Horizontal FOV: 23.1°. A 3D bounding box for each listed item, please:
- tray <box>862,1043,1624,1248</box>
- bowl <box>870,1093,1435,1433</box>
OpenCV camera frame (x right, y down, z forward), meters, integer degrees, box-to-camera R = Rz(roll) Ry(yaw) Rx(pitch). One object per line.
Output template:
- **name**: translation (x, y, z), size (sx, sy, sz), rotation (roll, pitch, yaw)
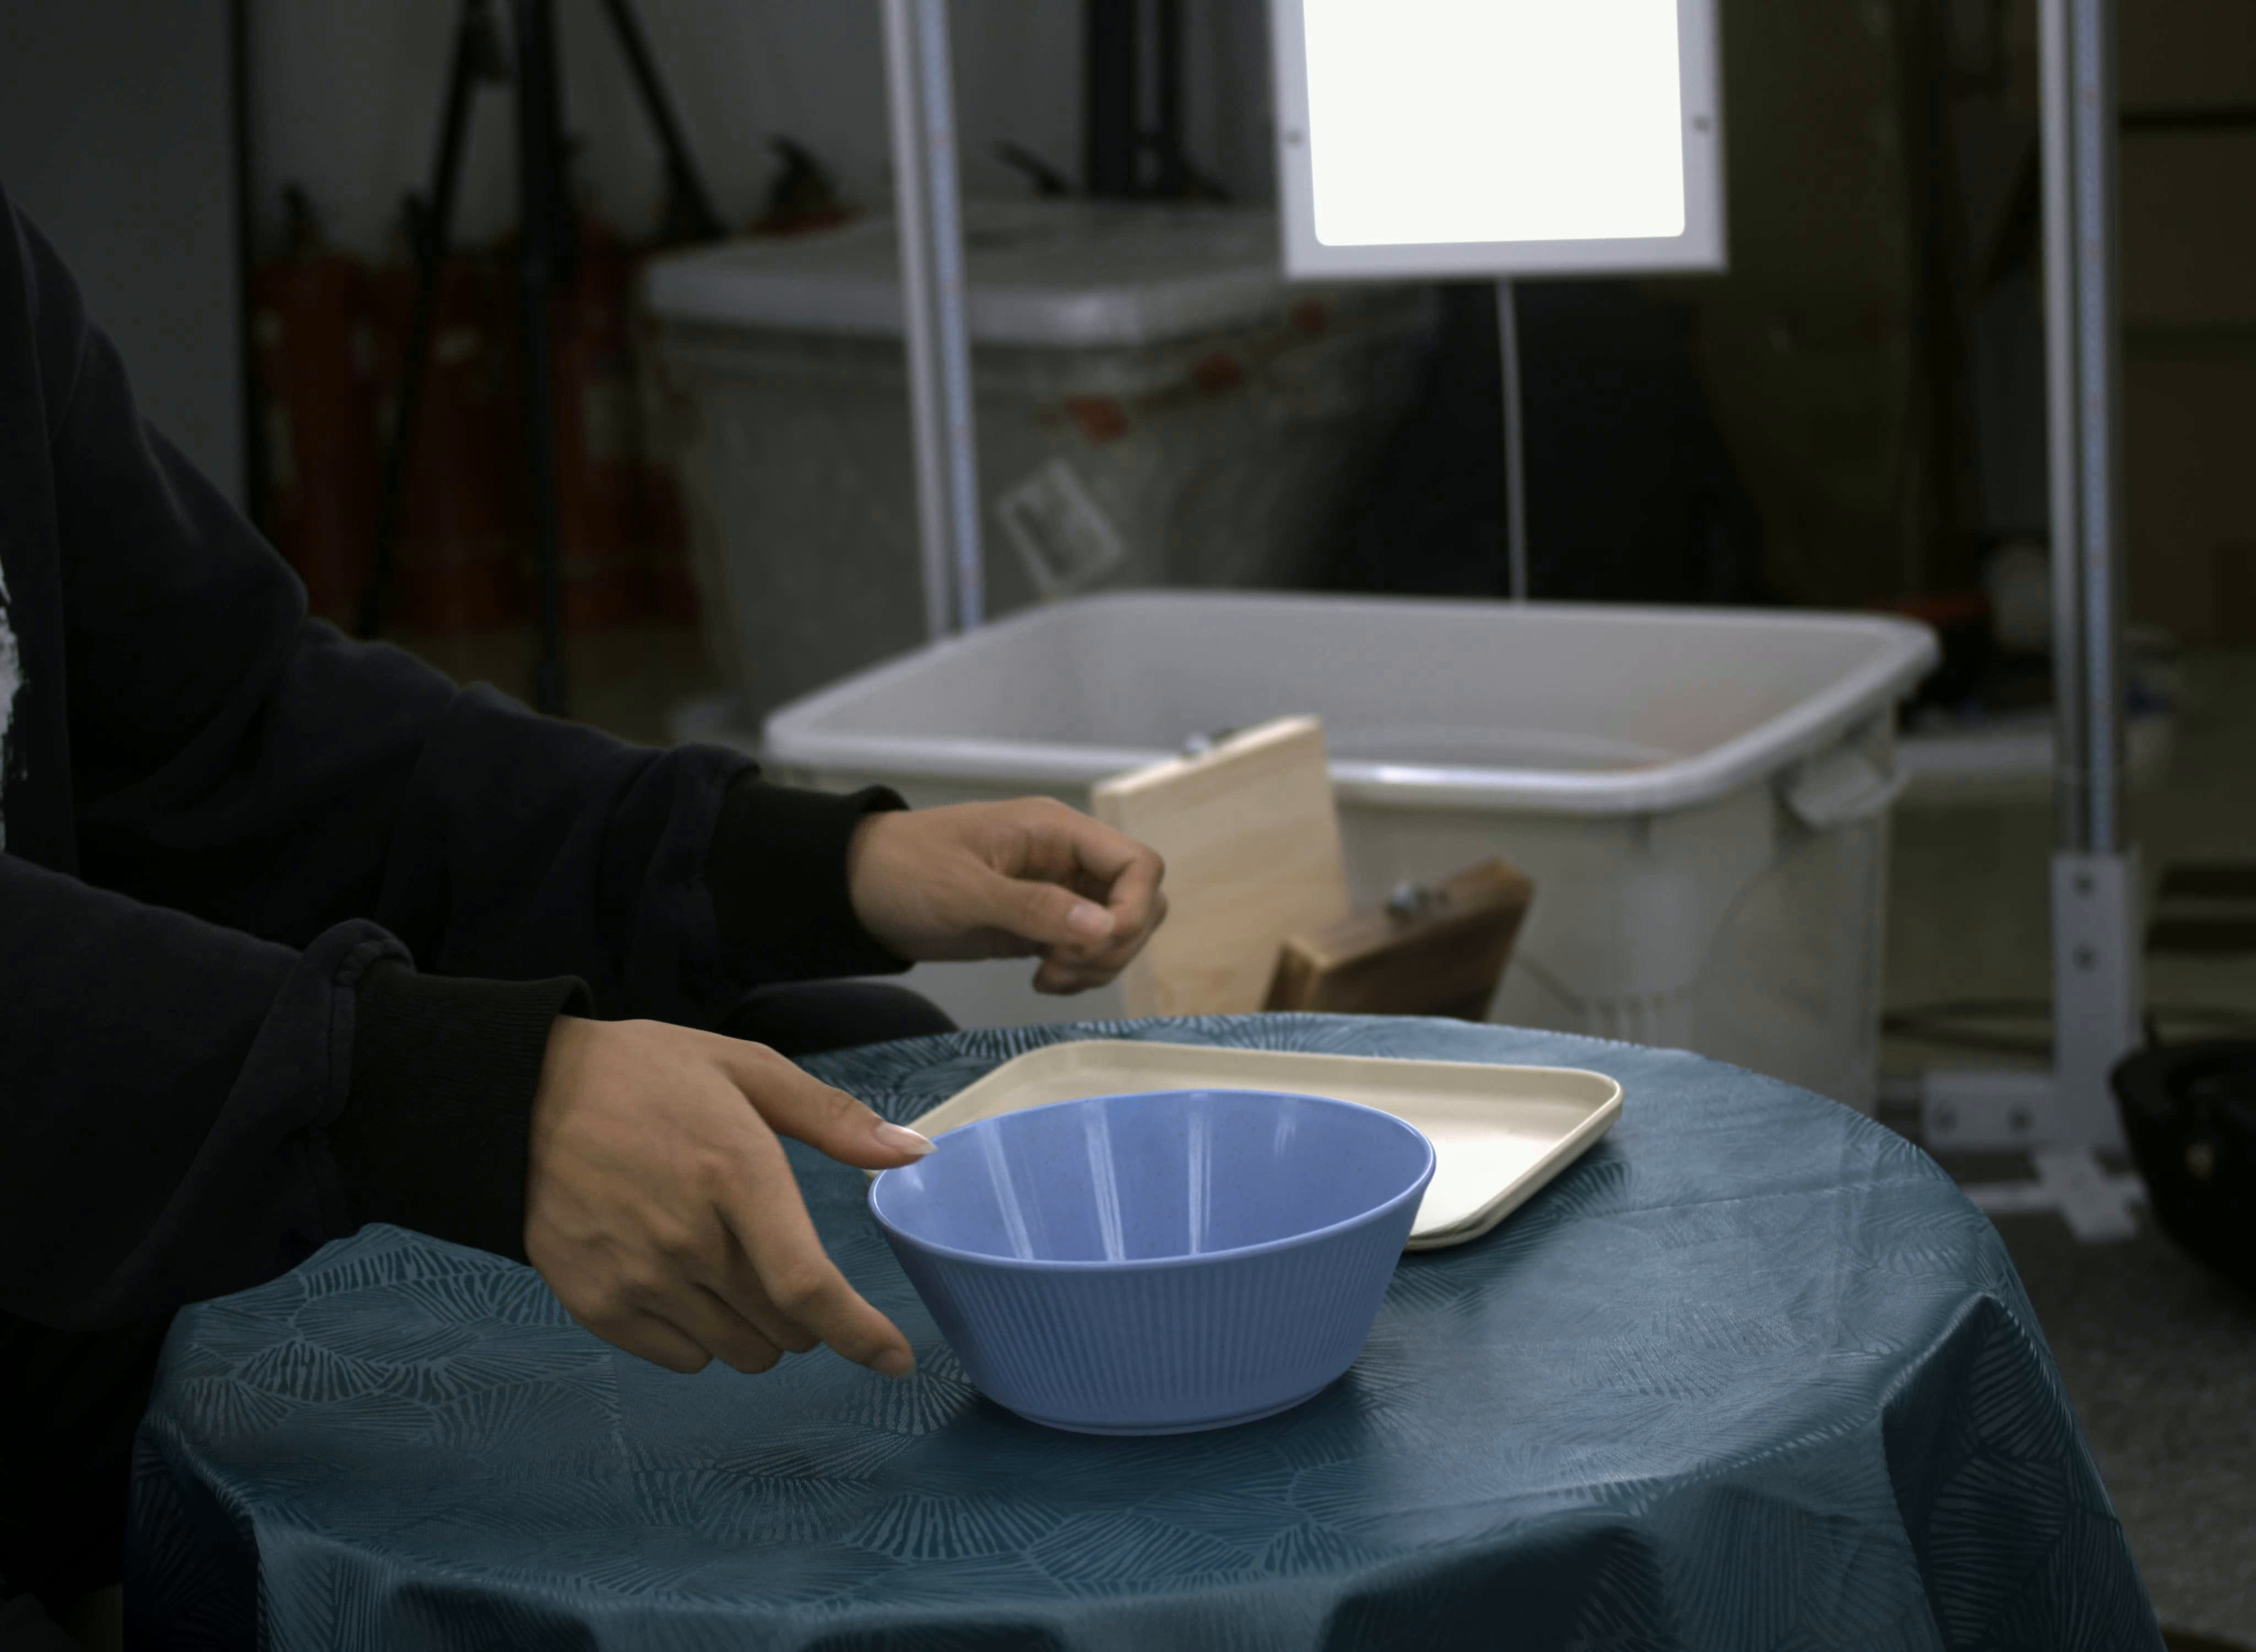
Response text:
- **tray**: translation (0.041, 0.111, 1.911), size (0.244, 0.017, 0.167), rotation (2, 15, 28)
- **bowl**: translation (0.010, 0.137, 1.700), size (0.175, 0.070, 0.176), rotation (-5, 13, 0)
